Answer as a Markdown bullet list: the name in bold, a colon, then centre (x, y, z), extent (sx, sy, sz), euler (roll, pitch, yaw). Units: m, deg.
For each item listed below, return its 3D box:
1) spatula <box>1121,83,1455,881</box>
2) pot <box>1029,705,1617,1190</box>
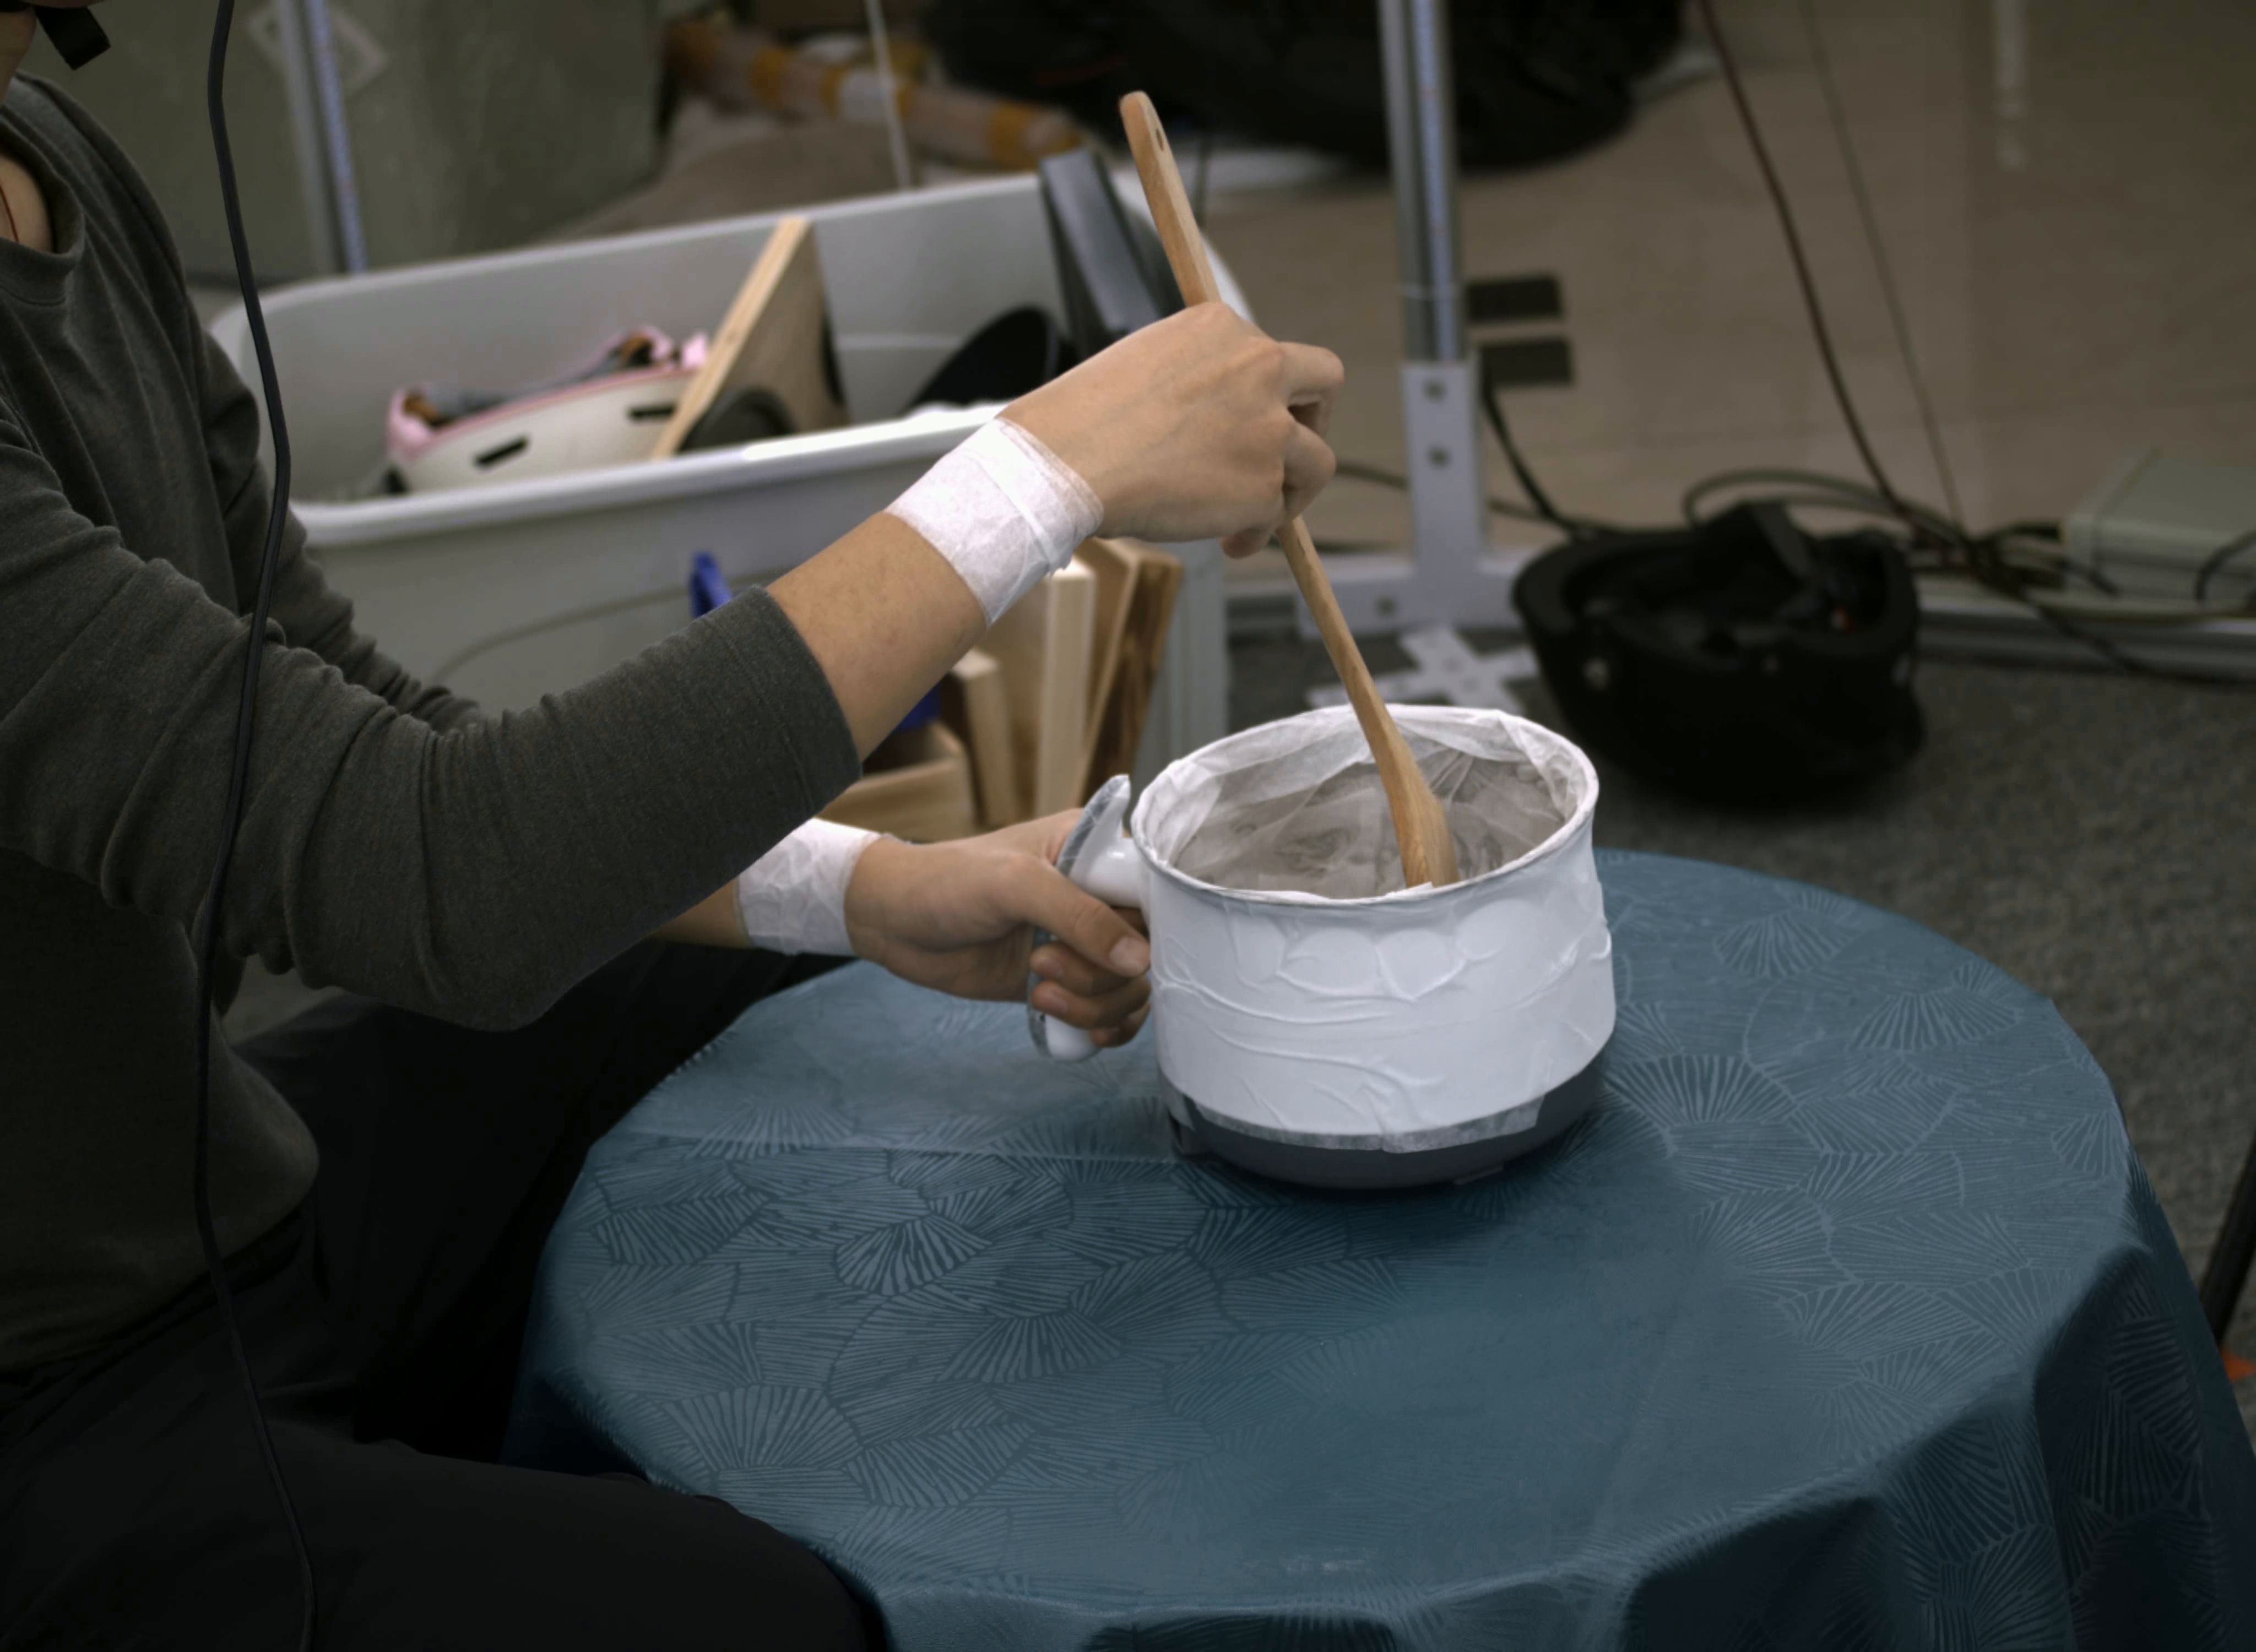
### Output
- **spatula**: centre (0.065, -0.100, 2.070), extent (0.018, 0.397, 0.094), euler (-16, 30, 13)
- **pot**: centre (0.070, 0.047, 2.169), extent (0.233, 0.139, 0.176), euler (3, 26, 19)
